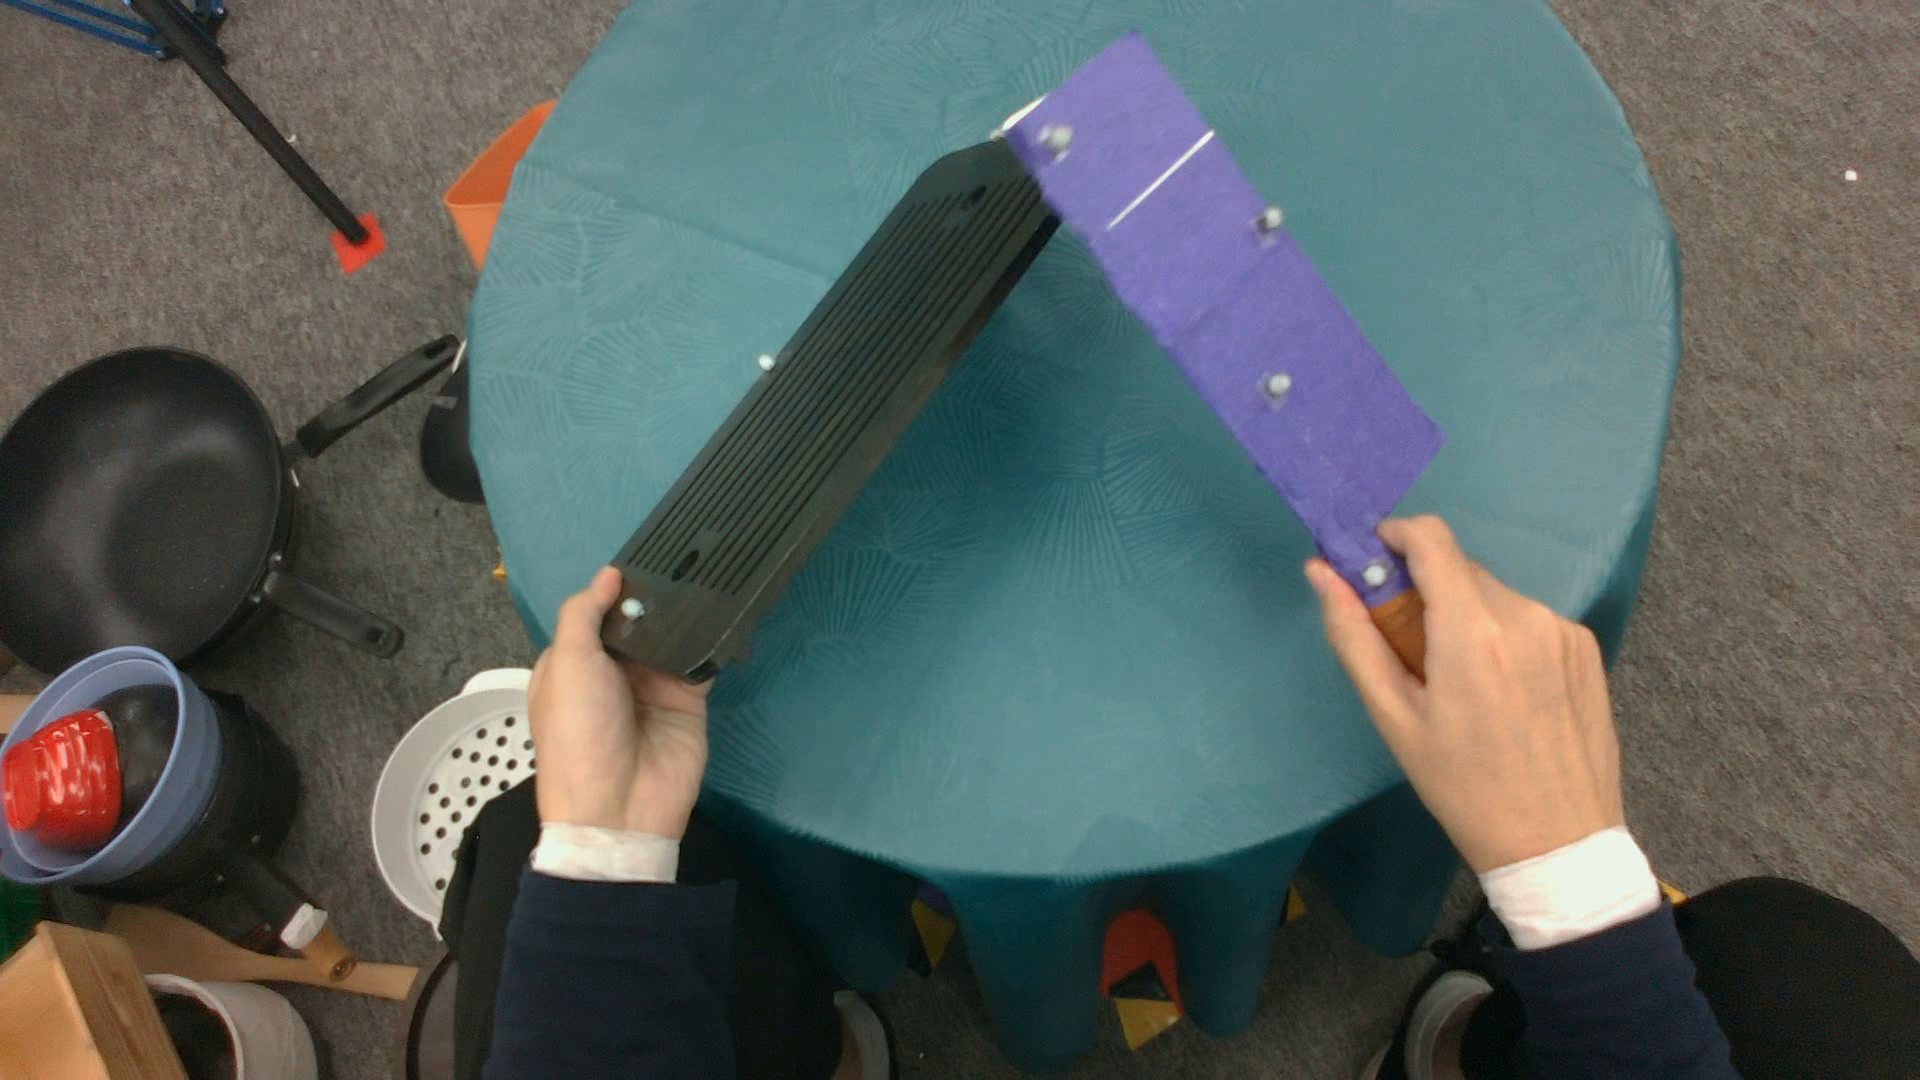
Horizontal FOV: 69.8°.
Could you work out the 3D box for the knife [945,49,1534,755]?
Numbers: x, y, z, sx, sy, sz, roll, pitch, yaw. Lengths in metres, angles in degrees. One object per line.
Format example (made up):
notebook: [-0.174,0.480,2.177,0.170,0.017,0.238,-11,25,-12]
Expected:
knife: [0.127,-0.059,0.535,0.315,0.032,0.104,49,57,-7]

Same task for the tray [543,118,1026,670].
tray: [-0.063,-0.076,0.612,0.307,0.018,0.170,-55,29,-17]
